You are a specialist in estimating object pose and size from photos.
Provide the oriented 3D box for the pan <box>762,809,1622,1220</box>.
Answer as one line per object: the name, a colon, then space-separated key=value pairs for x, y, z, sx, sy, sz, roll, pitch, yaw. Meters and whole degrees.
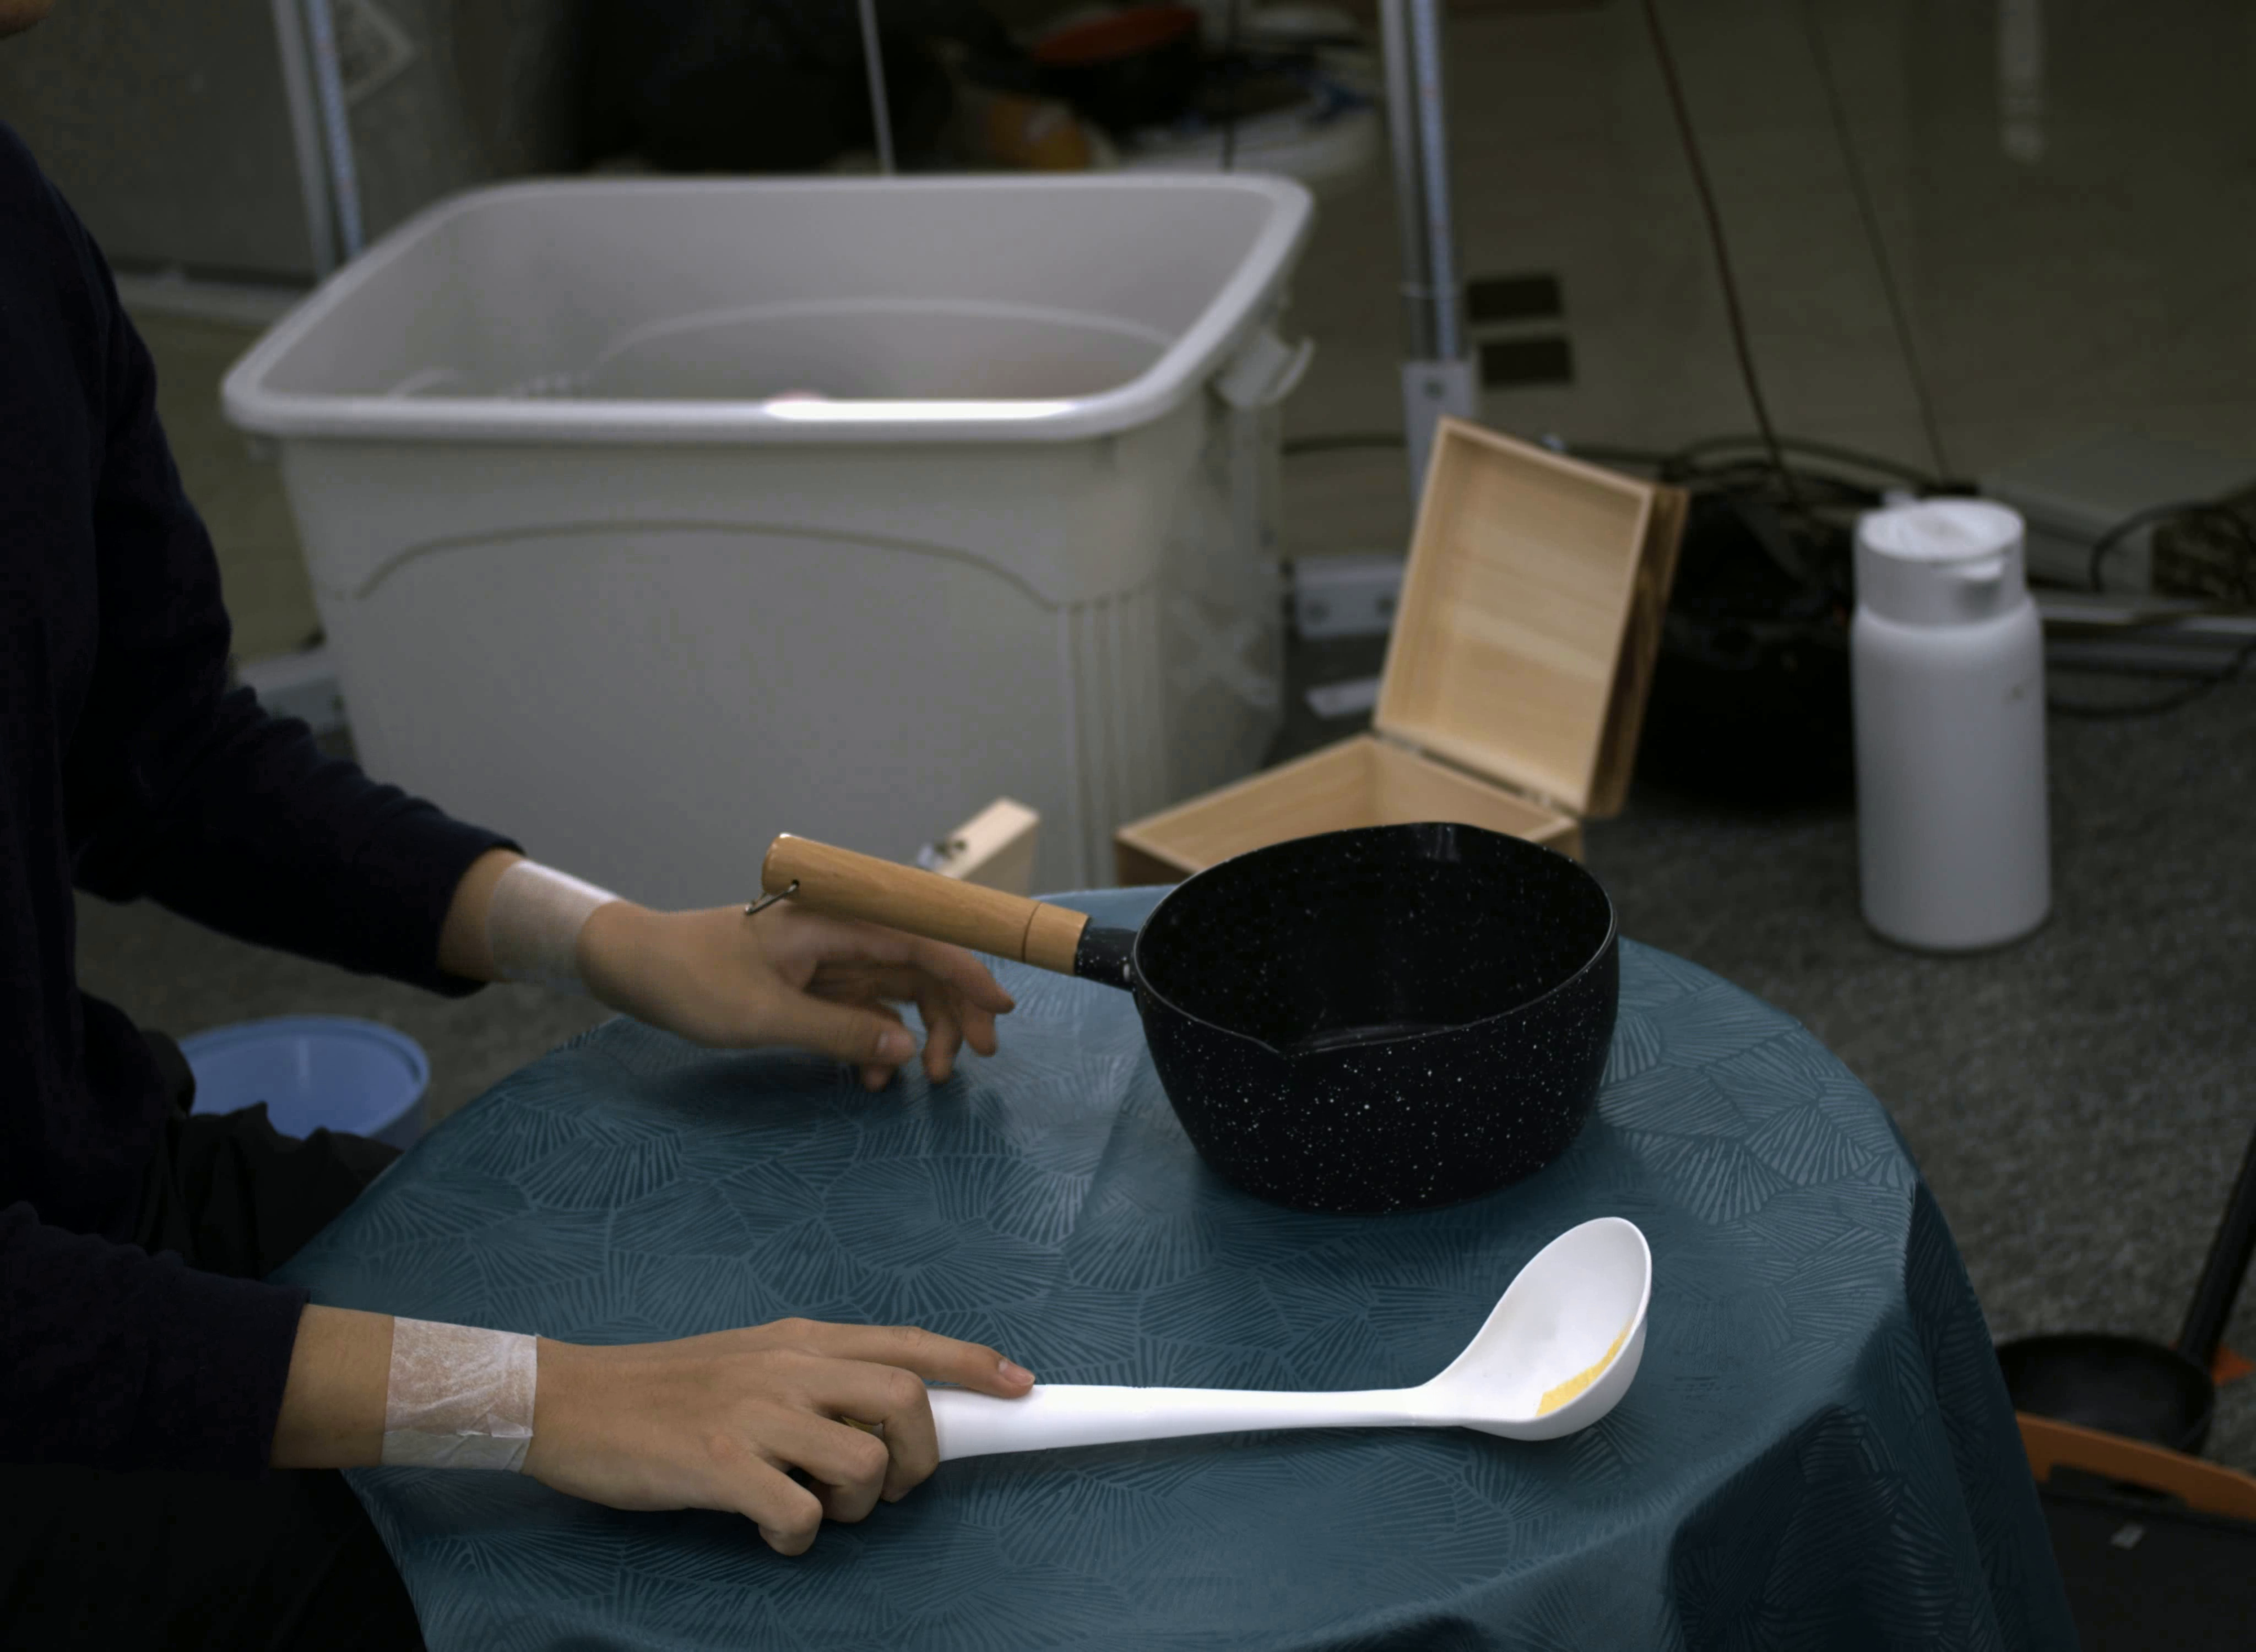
pan: x=0.021 y=0.063 z=2.176 sx=0.342 sy=0.110 sz=0.204 roll=4 pitch=28 yaw=18

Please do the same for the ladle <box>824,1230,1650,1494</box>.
ladle: x=0.036 y=0.191 z=1.954 sx=0.292 sy=0.071 sz=0.088 roll=-5 pitch=42 yaw=6
